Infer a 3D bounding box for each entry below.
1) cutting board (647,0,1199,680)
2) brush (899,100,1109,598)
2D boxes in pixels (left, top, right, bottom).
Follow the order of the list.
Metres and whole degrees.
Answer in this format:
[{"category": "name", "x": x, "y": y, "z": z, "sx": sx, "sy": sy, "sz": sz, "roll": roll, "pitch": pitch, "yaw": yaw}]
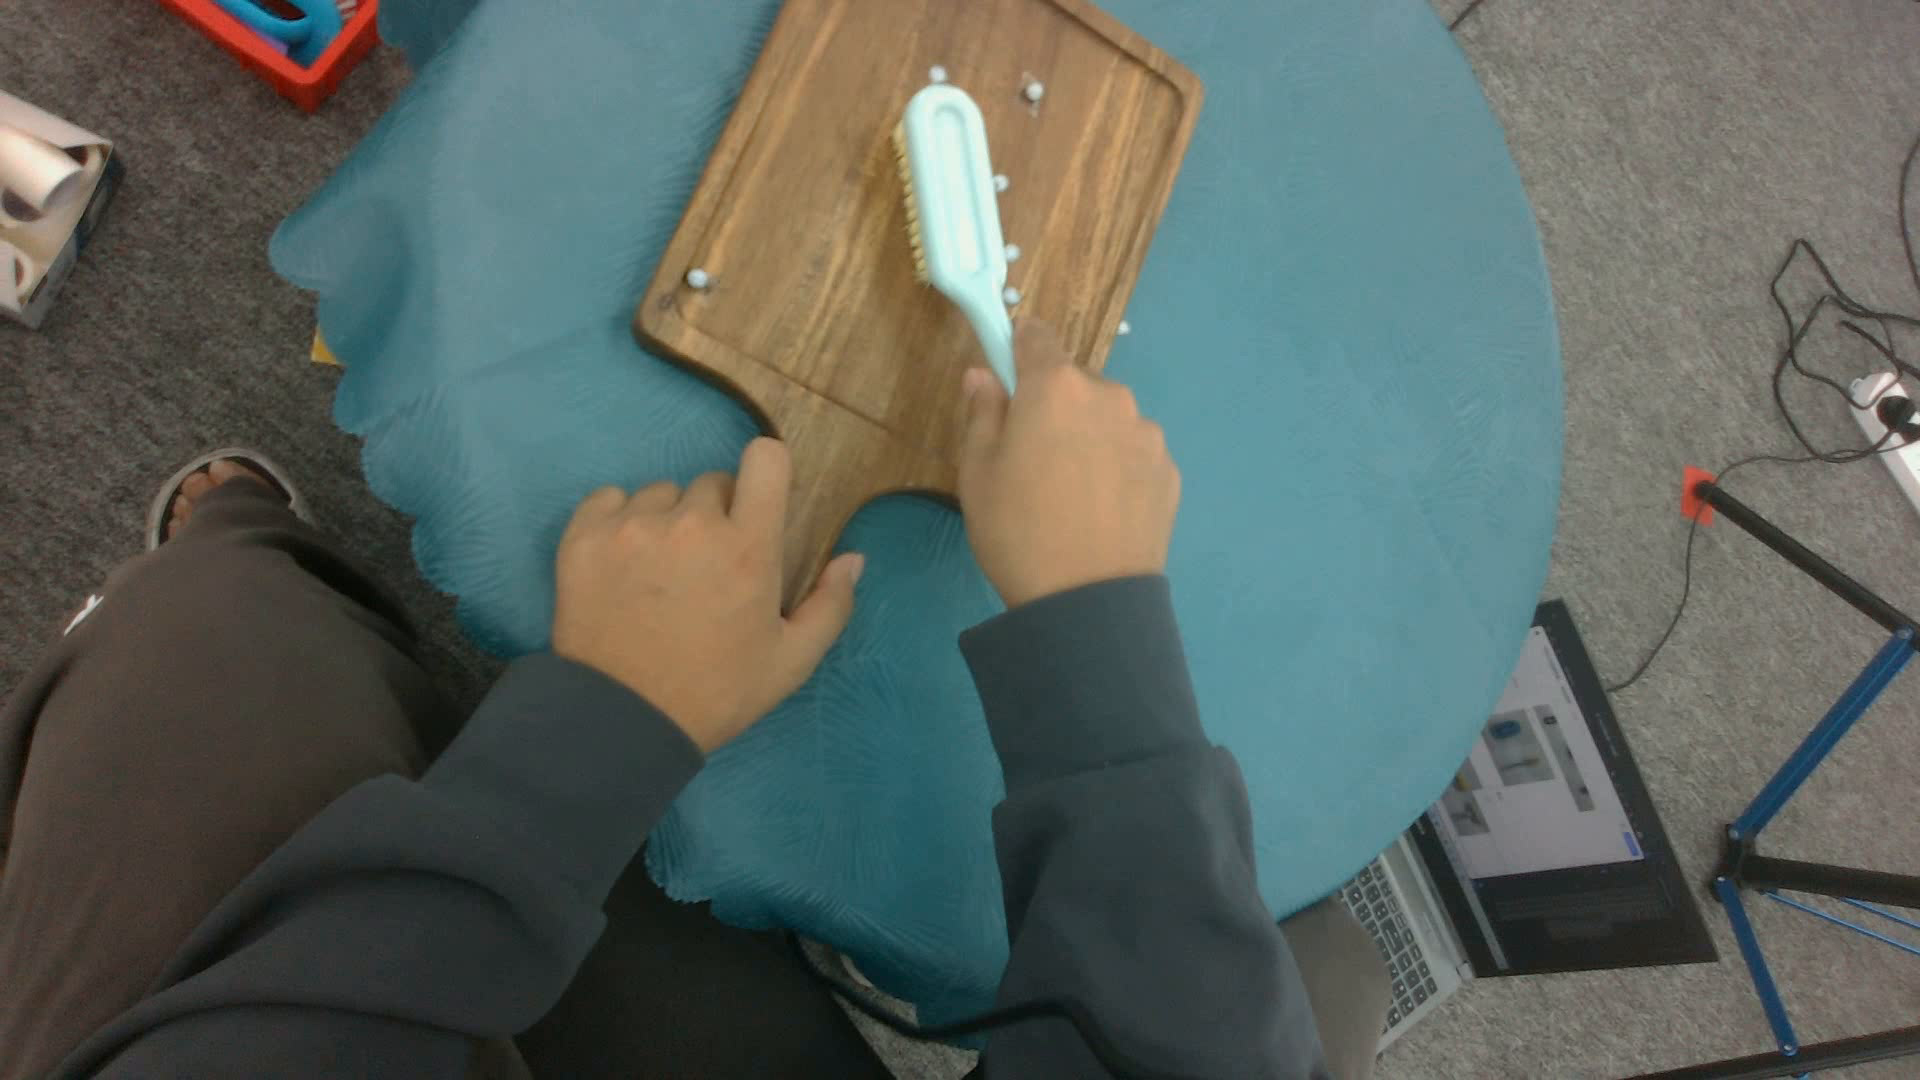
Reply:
[{"category": "cutting board", "x": -0.023, "y": -0.103, "z": 0.622, "sx": 0.201, "sy": 0.023, "sz": 0.353, "roll": 25, "pitch": 75, "yaw": -18}, {"category": "brush", "x": 0.019, "y": -0.082, "z": 0.591, "sx": 0.038, "sy": 0.049, "sz": 0.229, "roll": -11, "pitch": 73, "yaw": -25}]
